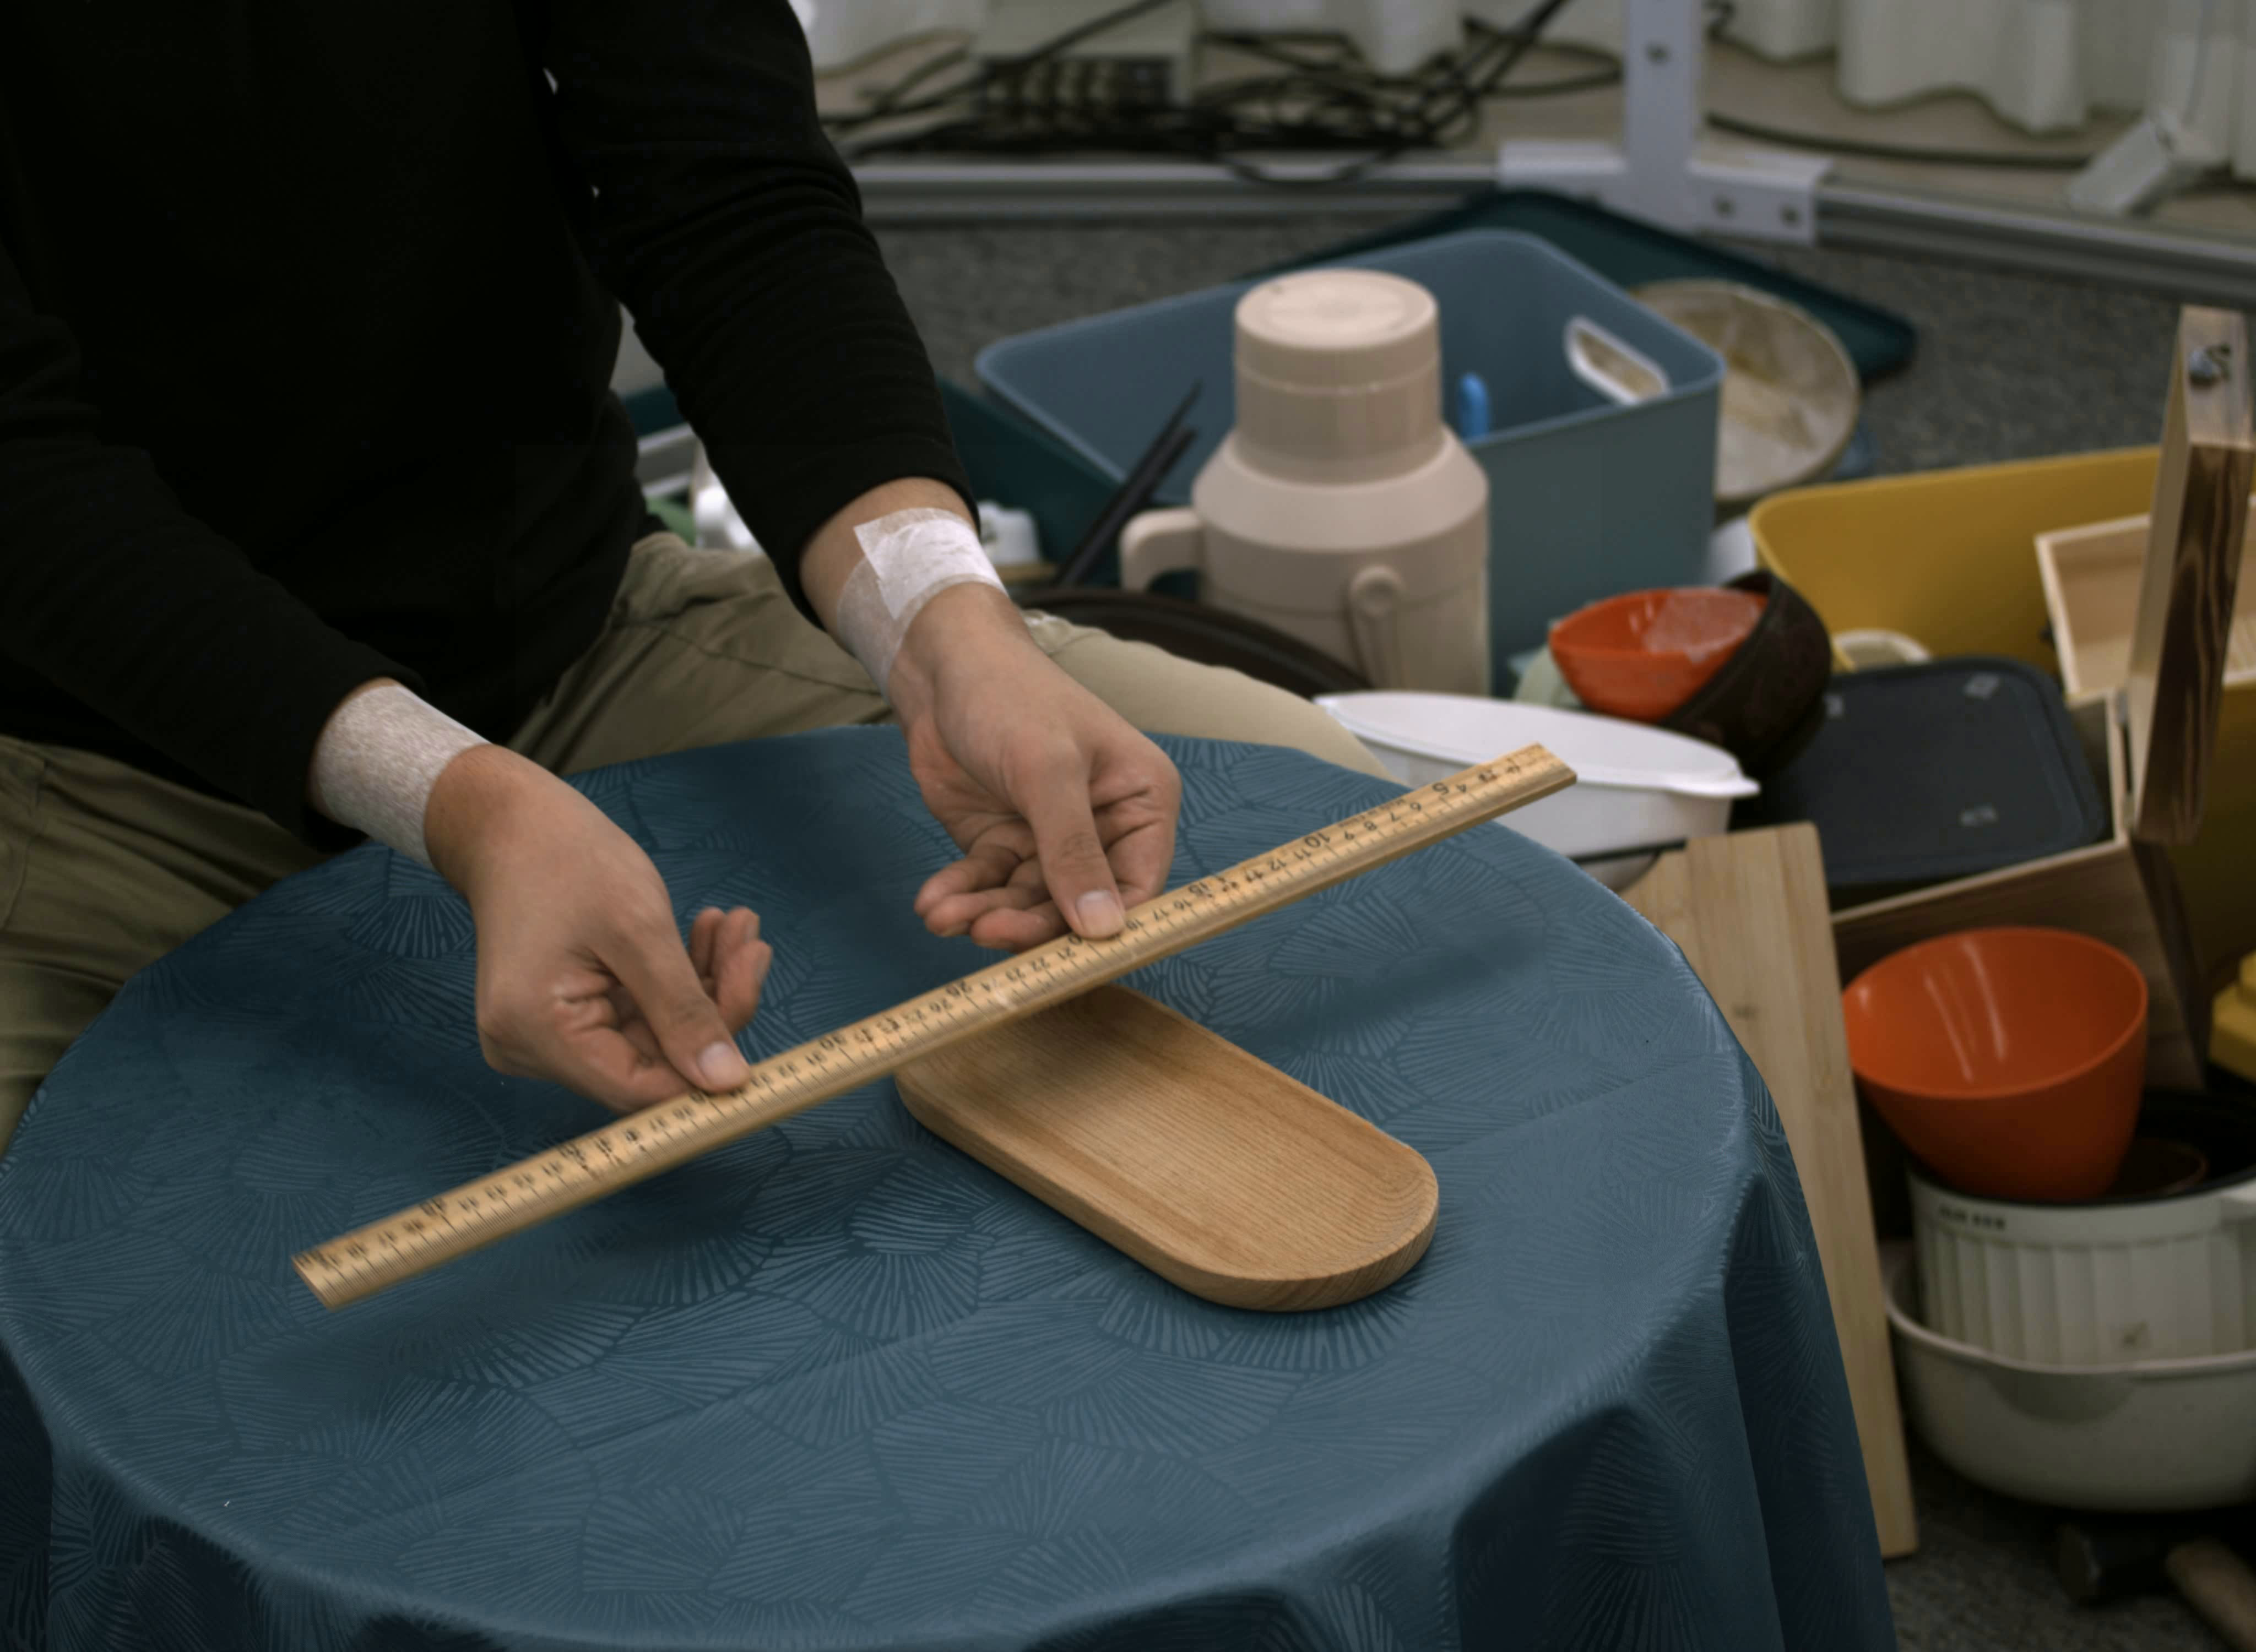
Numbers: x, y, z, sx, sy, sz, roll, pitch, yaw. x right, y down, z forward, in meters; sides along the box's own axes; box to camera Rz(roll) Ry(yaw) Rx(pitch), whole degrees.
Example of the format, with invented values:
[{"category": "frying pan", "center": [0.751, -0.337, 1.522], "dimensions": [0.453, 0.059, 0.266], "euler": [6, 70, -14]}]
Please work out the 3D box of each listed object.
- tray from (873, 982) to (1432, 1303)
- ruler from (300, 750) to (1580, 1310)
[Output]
[{"category": "tray", "center": [0.006, 0.104, 1.876], "dimensions": [0.103, 0.020, 0.231], "euler": [-22, 31, -35]}, {"category": "ruler", "center": [-0.051, 0.062, 1.884], "dimensions": [0.504, 0.006, 0.027], "euler": [-22, 41, -29]}]
